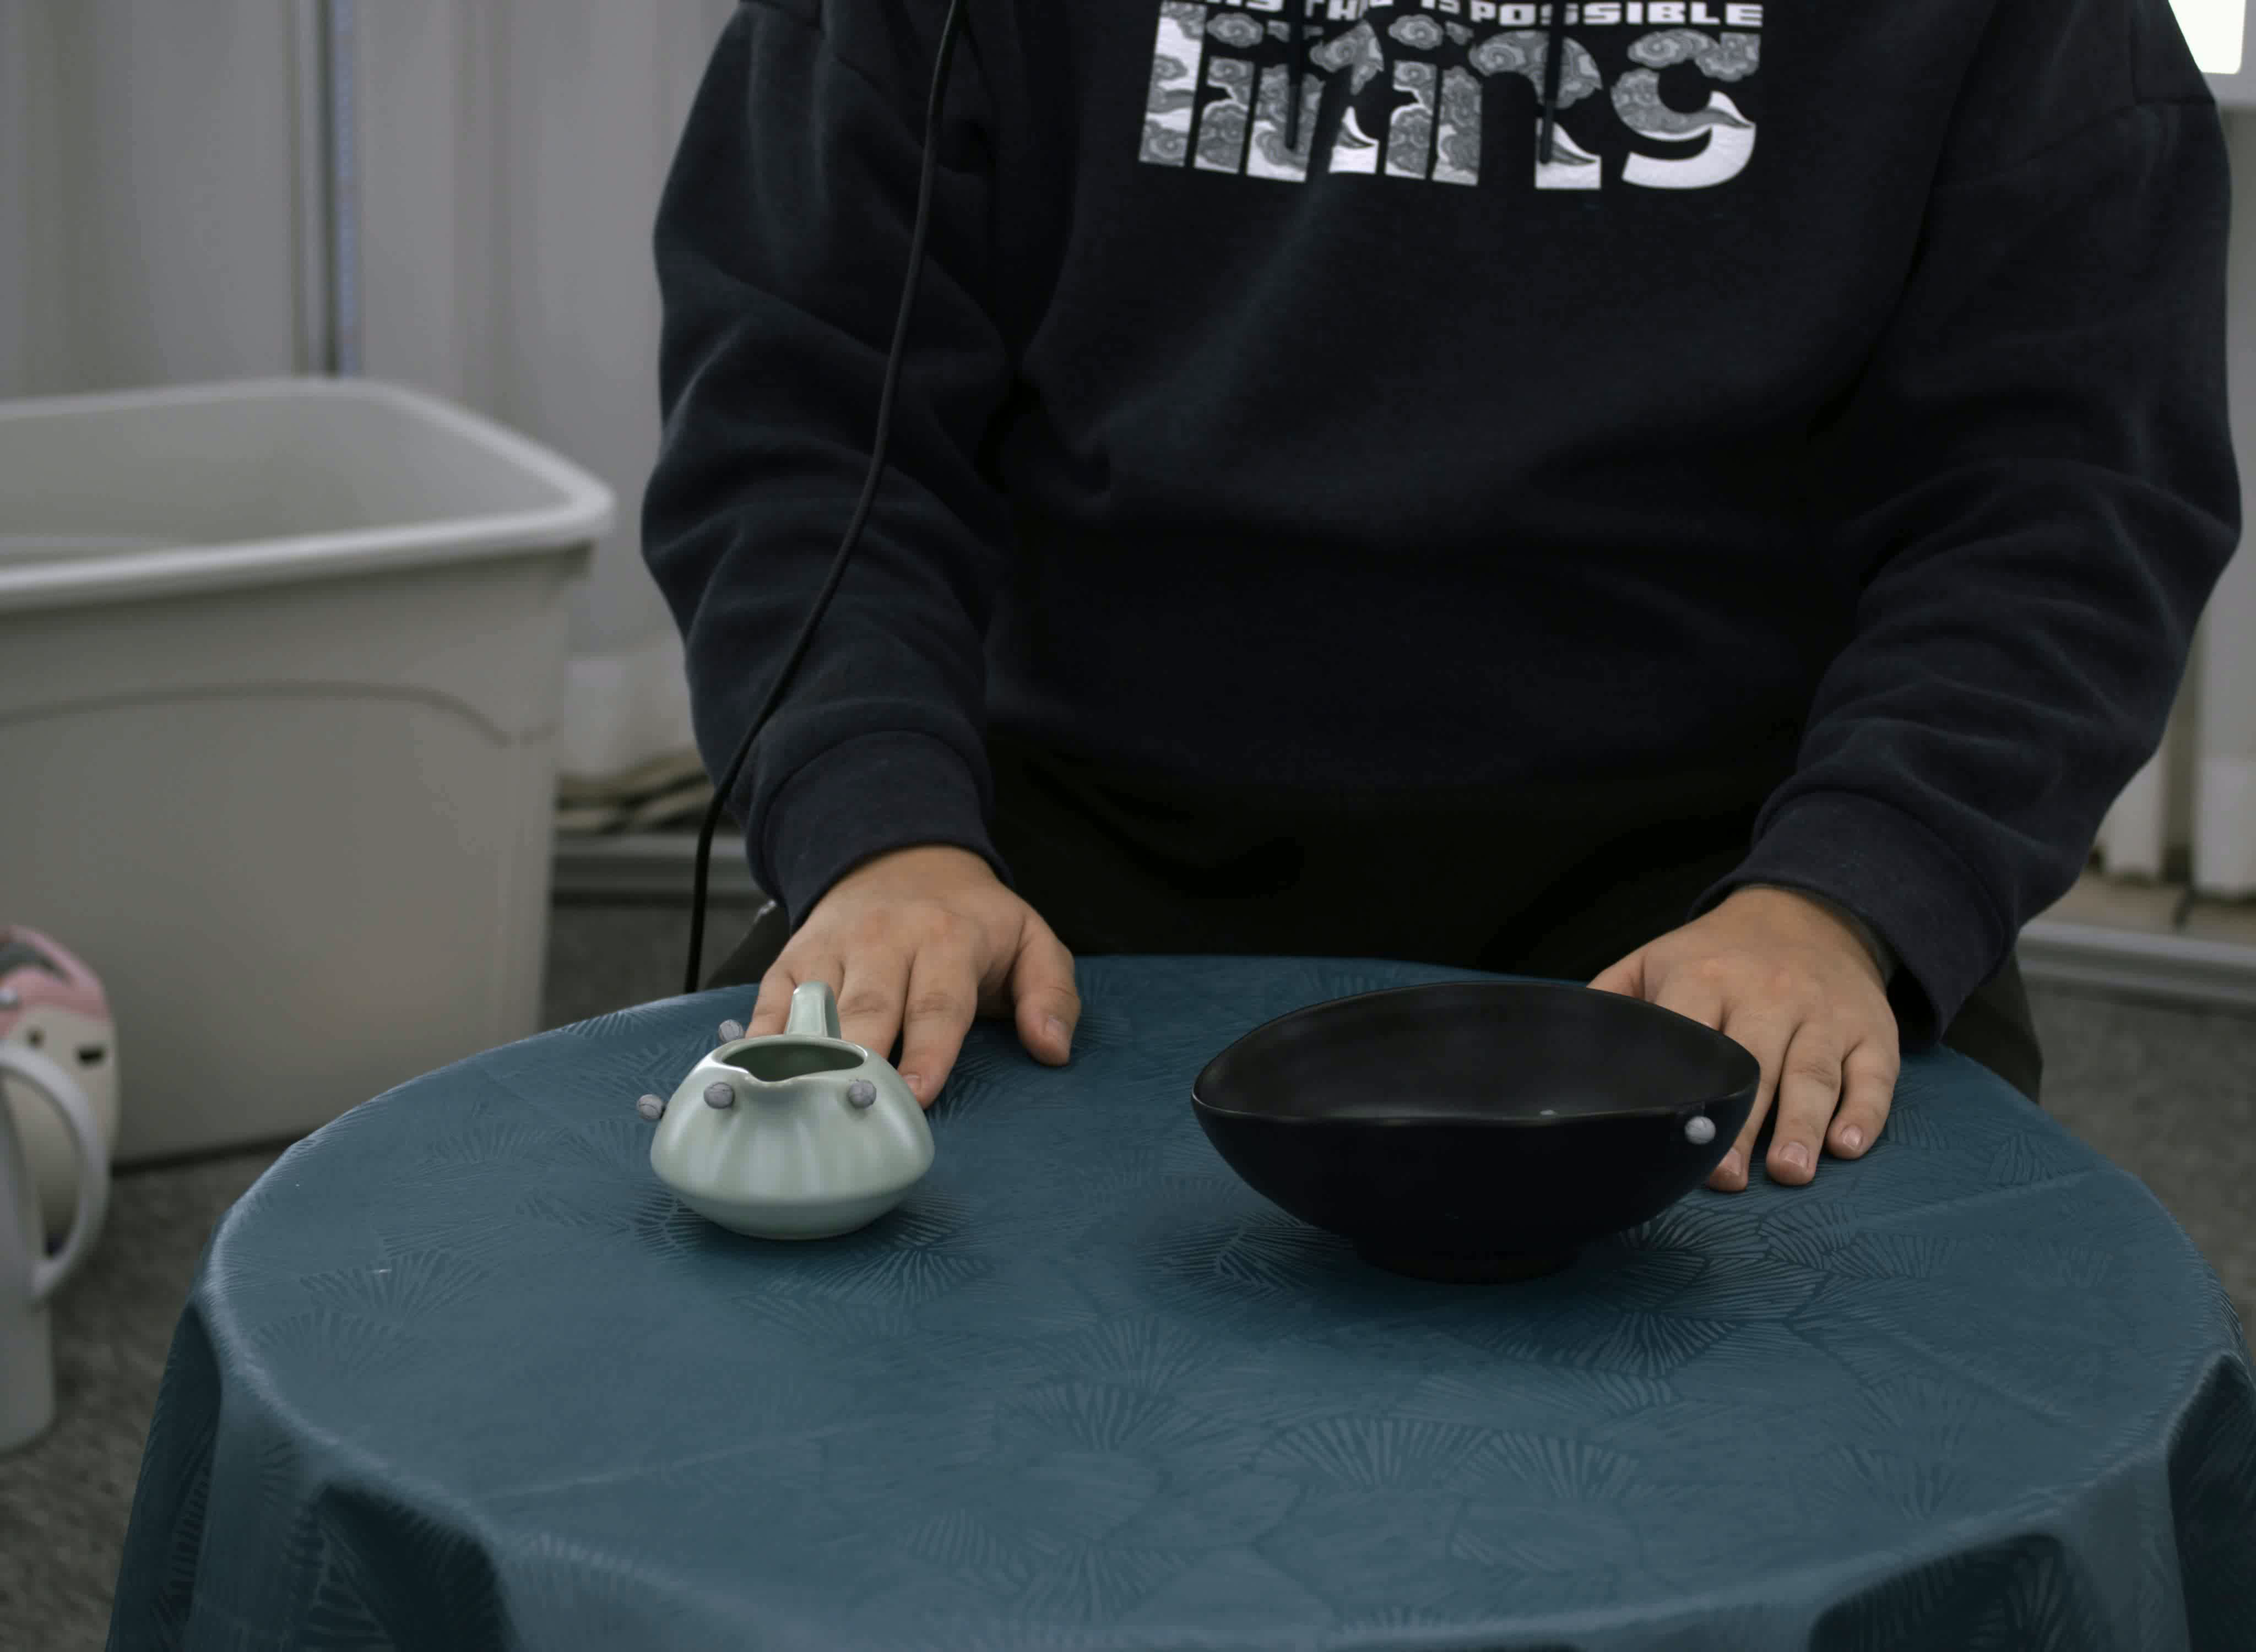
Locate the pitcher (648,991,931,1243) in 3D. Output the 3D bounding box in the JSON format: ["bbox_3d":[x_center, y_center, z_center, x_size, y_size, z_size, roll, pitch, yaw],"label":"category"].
[{"bbox_3d":[-0.101,0.089,1.603,0.085,0.061,0.107,3,13,3],"label":"pitcher"}]

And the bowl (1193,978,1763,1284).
[{"bbox_3d":[0.105,0.096,1.573,0.170,0.067,0.136,-1,15,-4],"label":"bowl"}]
